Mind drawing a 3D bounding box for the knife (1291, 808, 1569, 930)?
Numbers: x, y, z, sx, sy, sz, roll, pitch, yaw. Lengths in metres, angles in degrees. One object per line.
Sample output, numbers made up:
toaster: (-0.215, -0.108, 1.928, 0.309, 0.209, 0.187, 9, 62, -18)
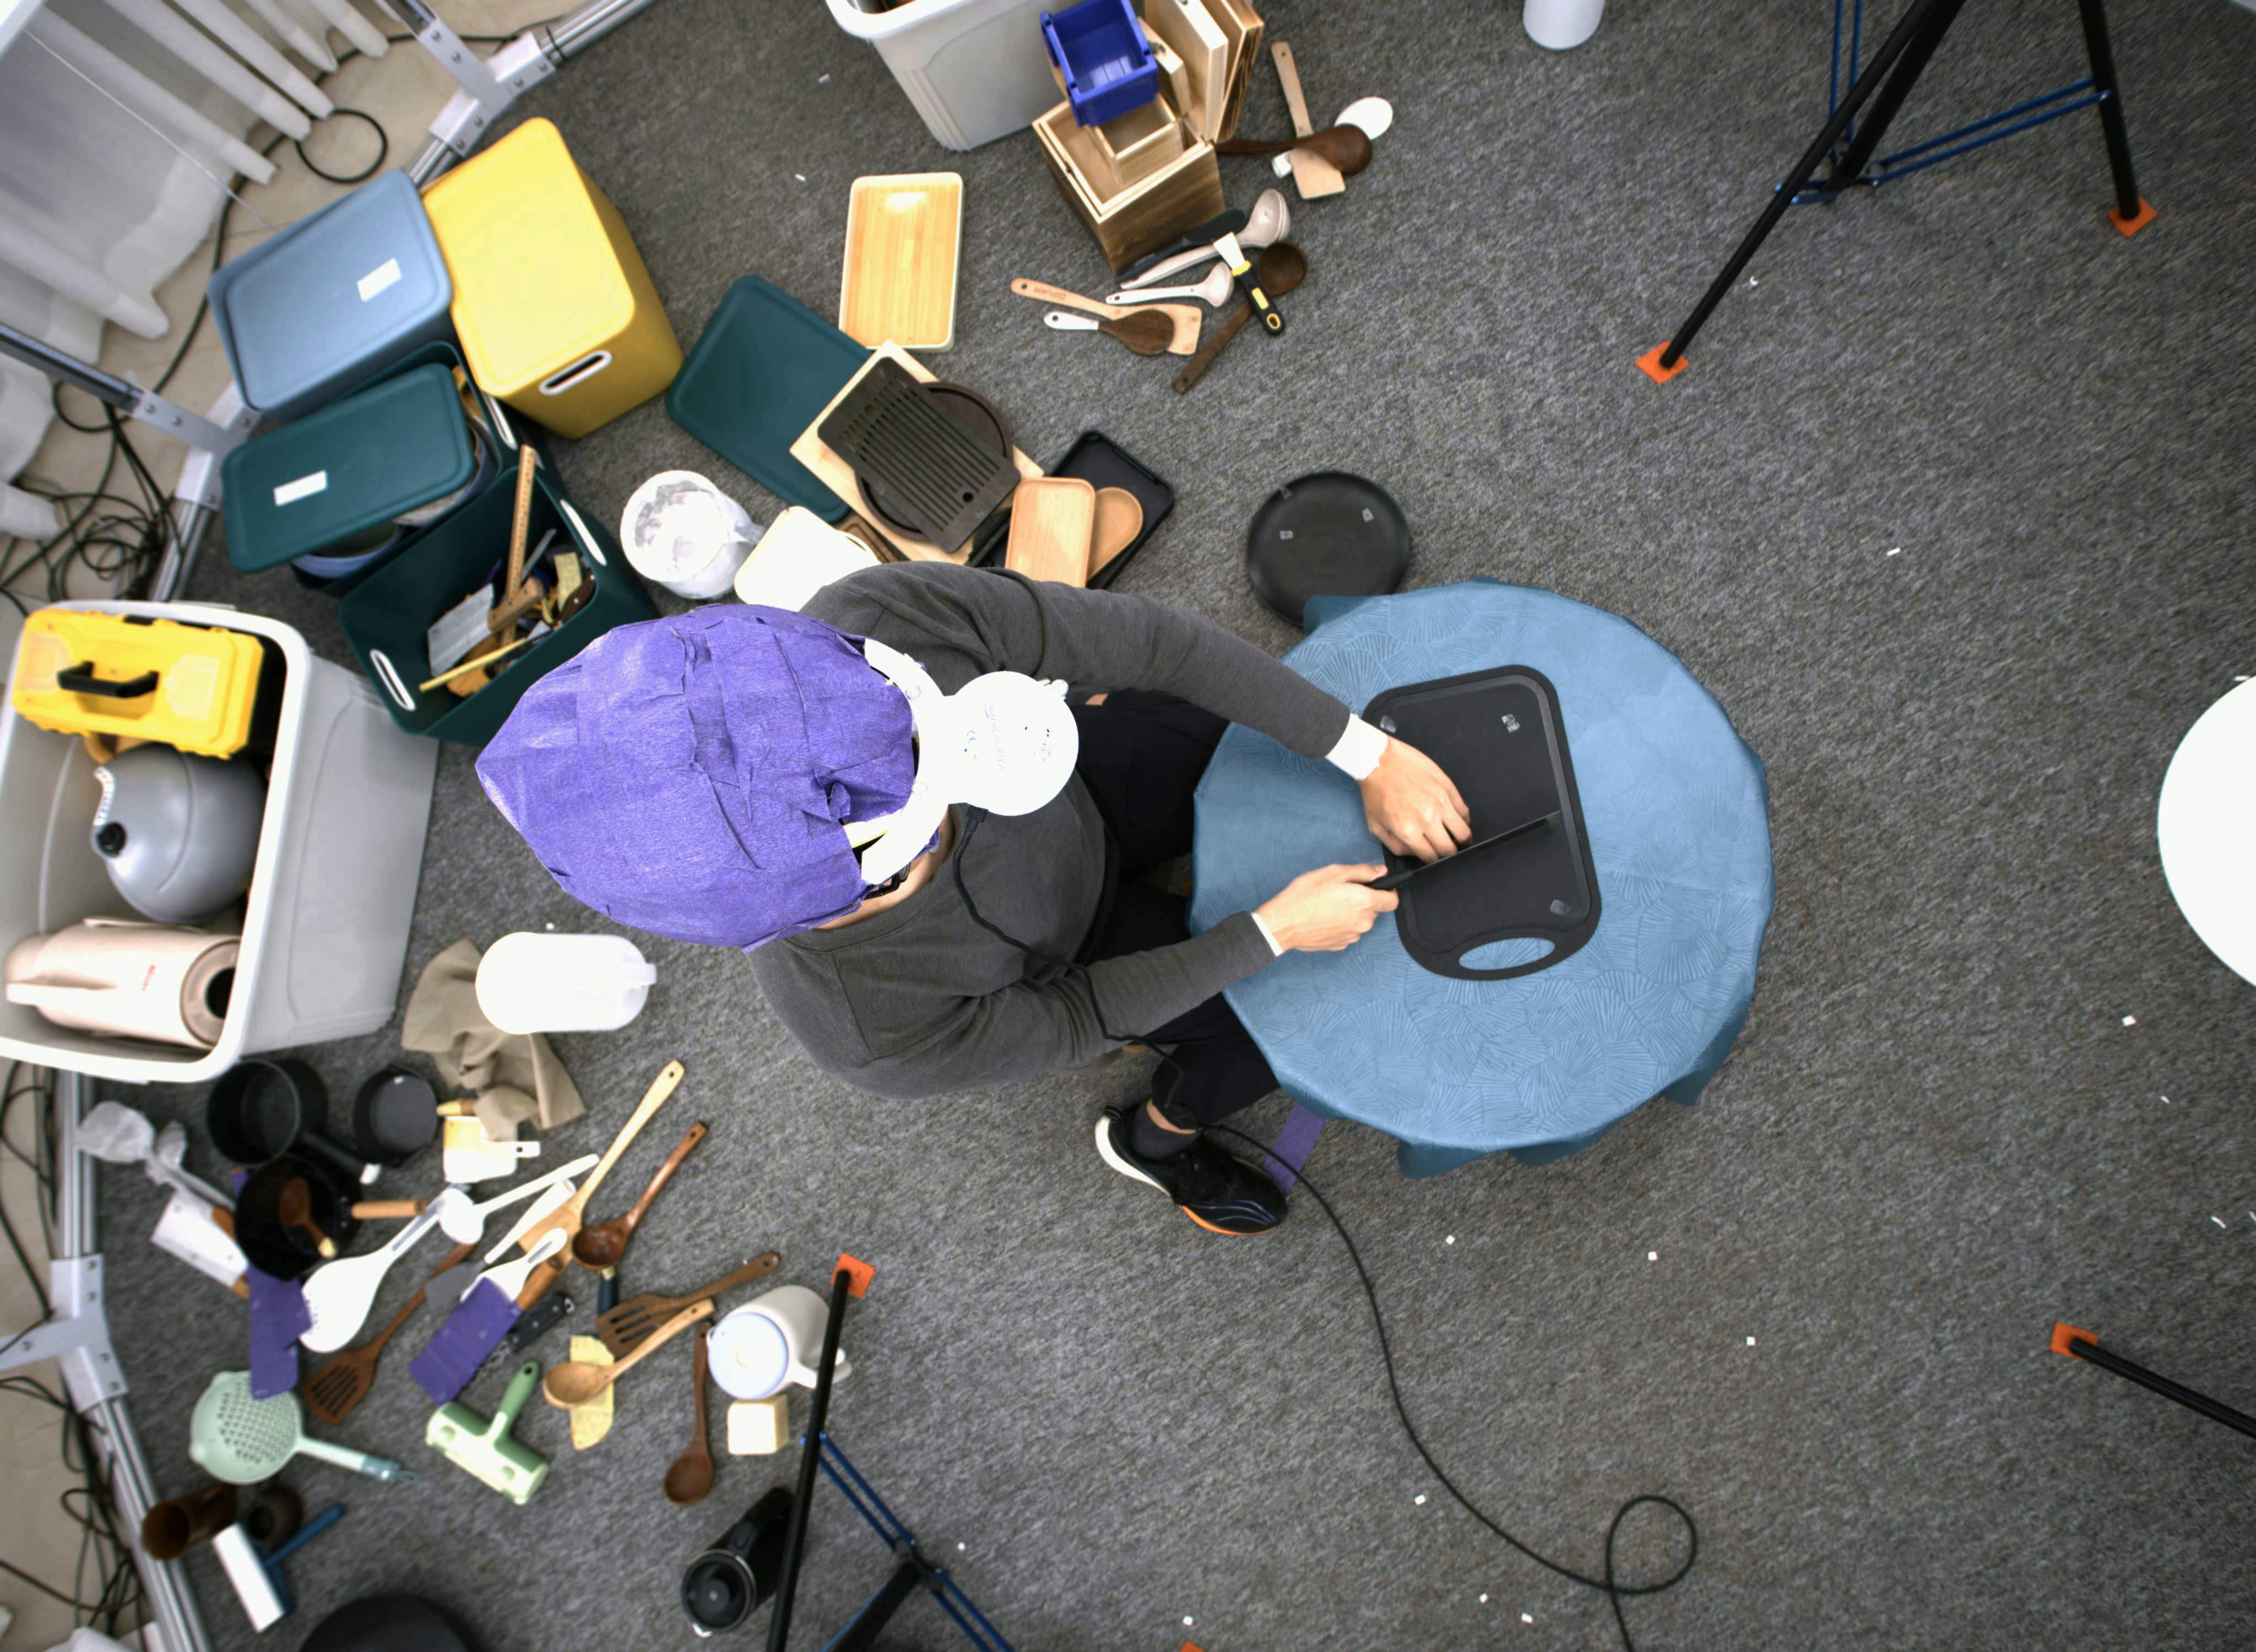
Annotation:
knife: (0.308, 0.041, 1.408, 0.303, 0.081, 0.020, -22, 76, 4)

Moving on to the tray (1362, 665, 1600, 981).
tray: (0.371, -0.003, 1.442, 0.212, 0.010, 0.323, -10, 85, 11)
